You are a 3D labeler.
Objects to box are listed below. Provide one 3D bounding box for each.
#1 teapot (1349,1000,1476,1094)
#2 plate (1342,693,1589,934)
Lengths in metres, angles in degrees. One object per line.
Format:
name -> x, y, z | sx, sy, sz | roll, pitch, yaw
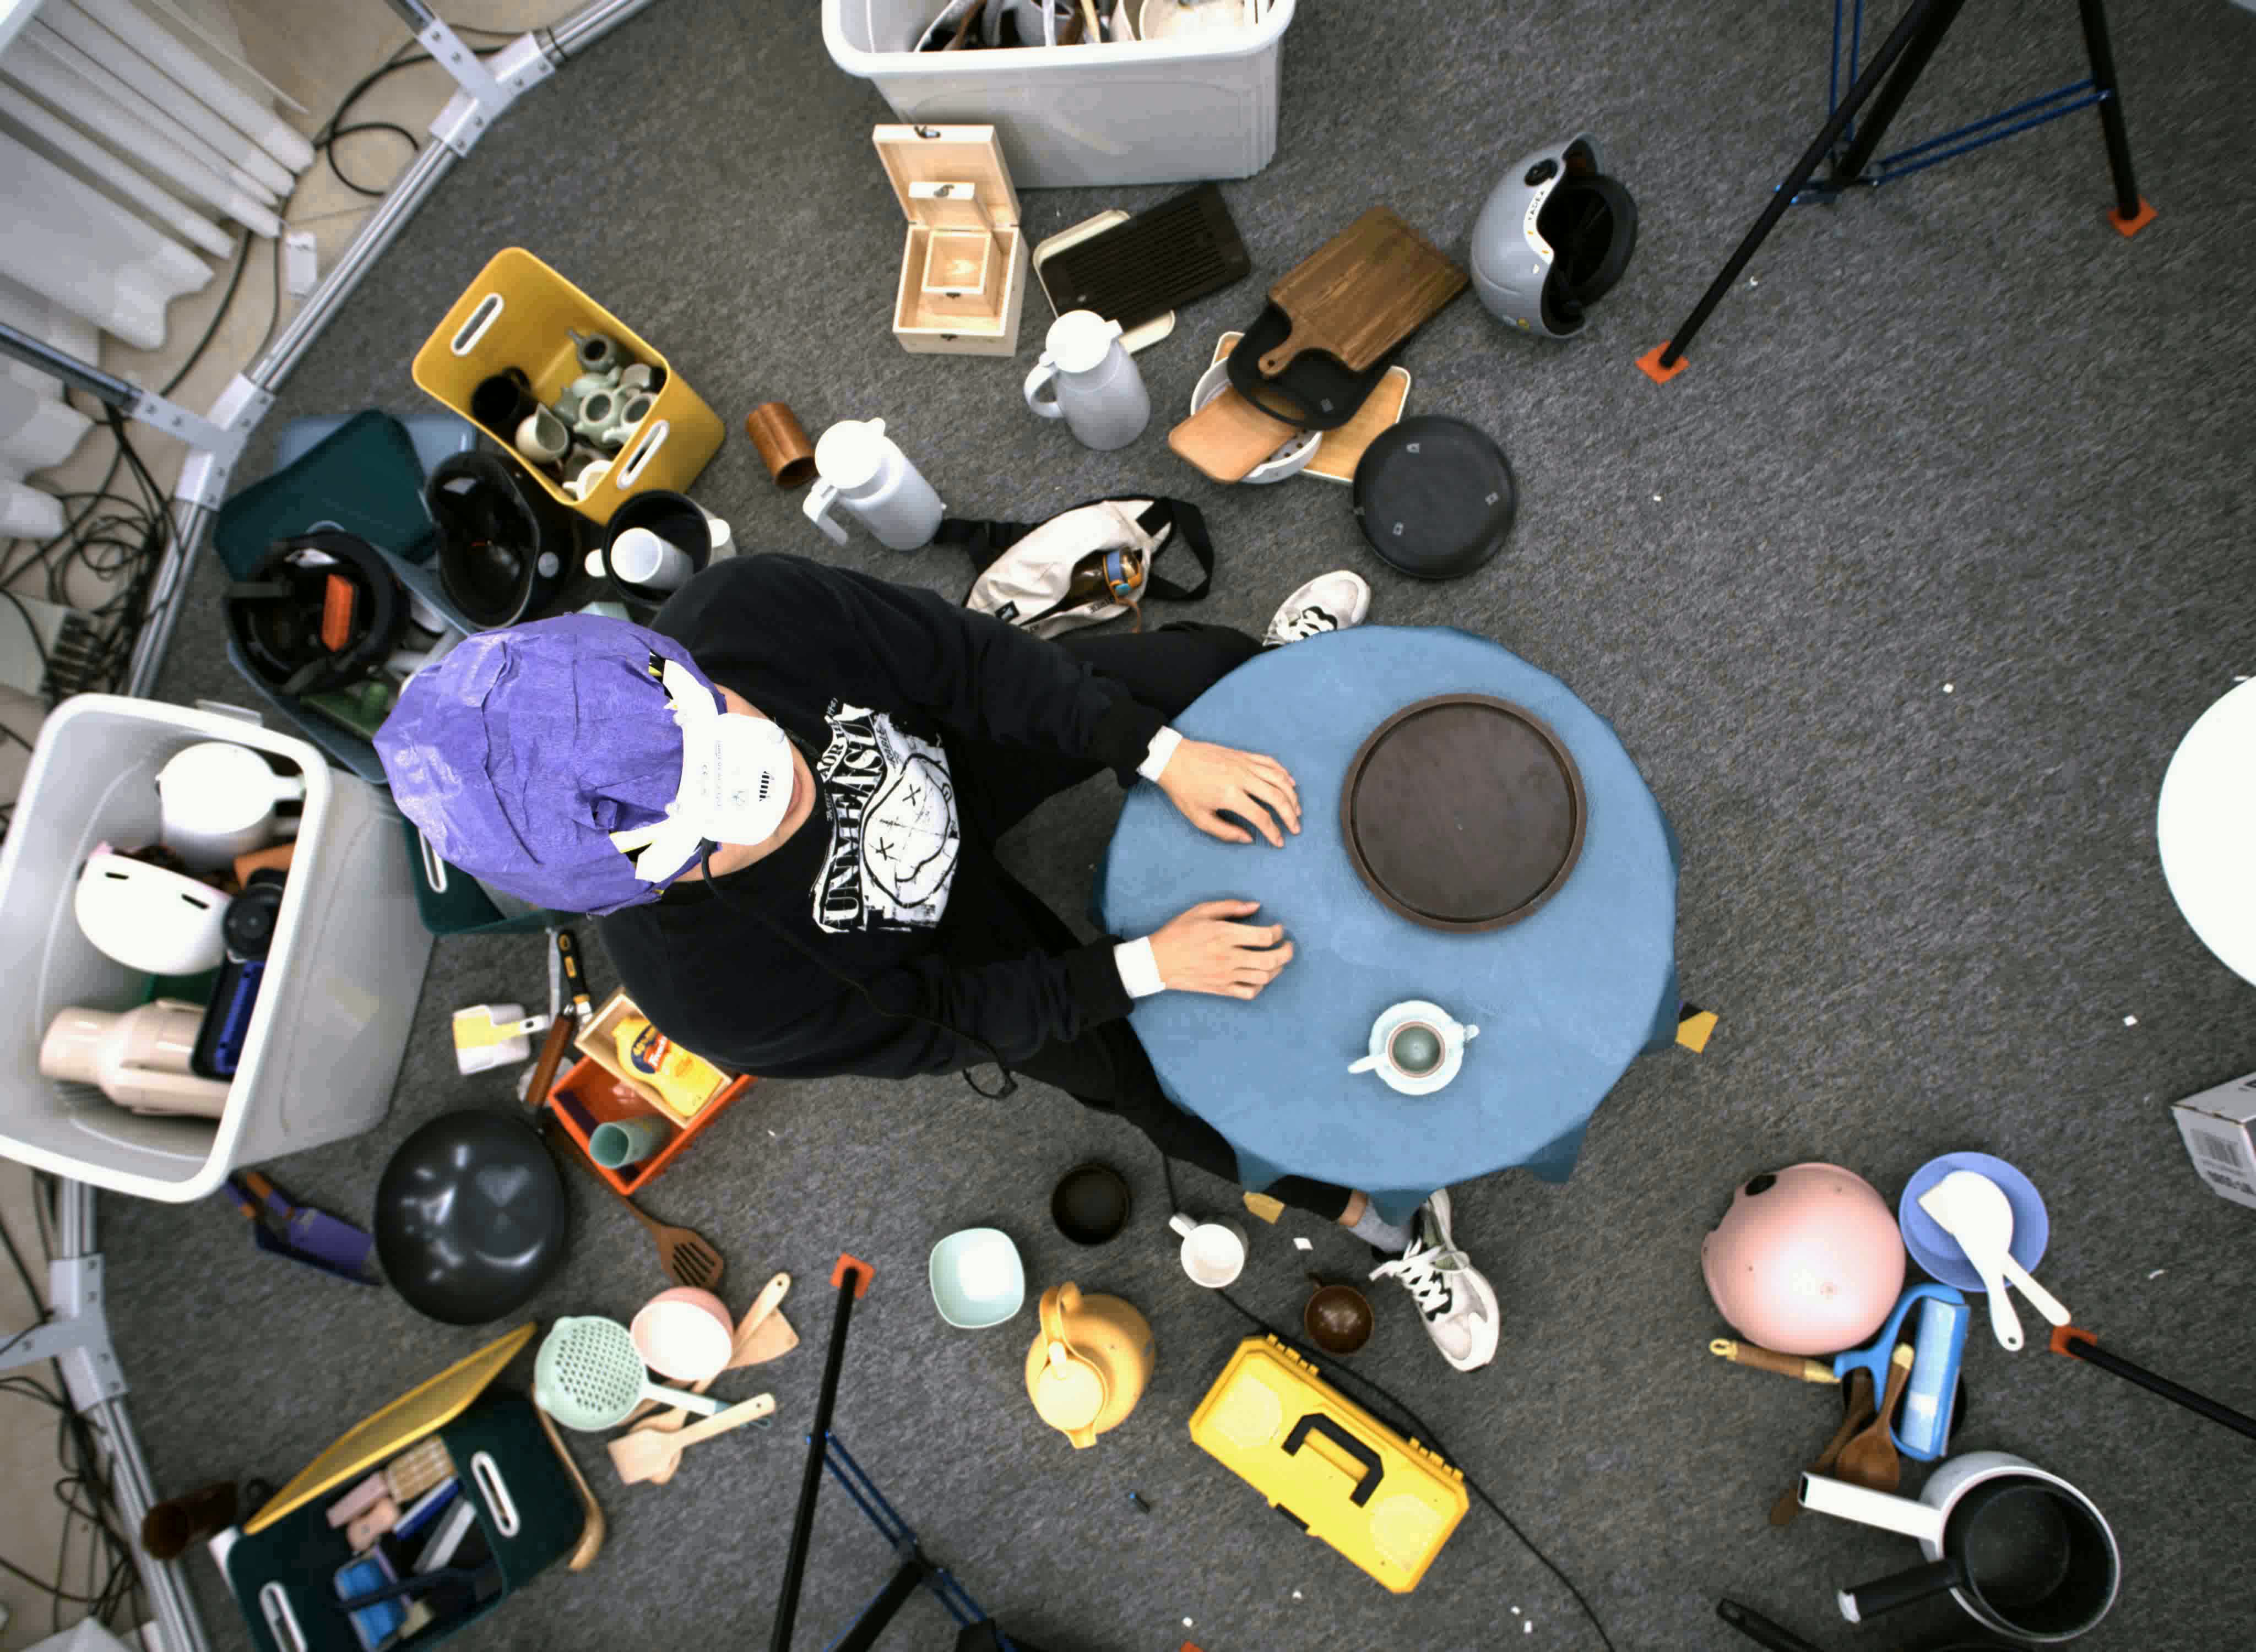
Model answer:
teapot -> 0.291, 0.227, 1.419 | 0.138, 0.061, 0.095 | -22, 84, 9
plate -> 0.350, -0.015, 1.438 | 0.256, 0.029, 0.254 | -1, 88, 10
